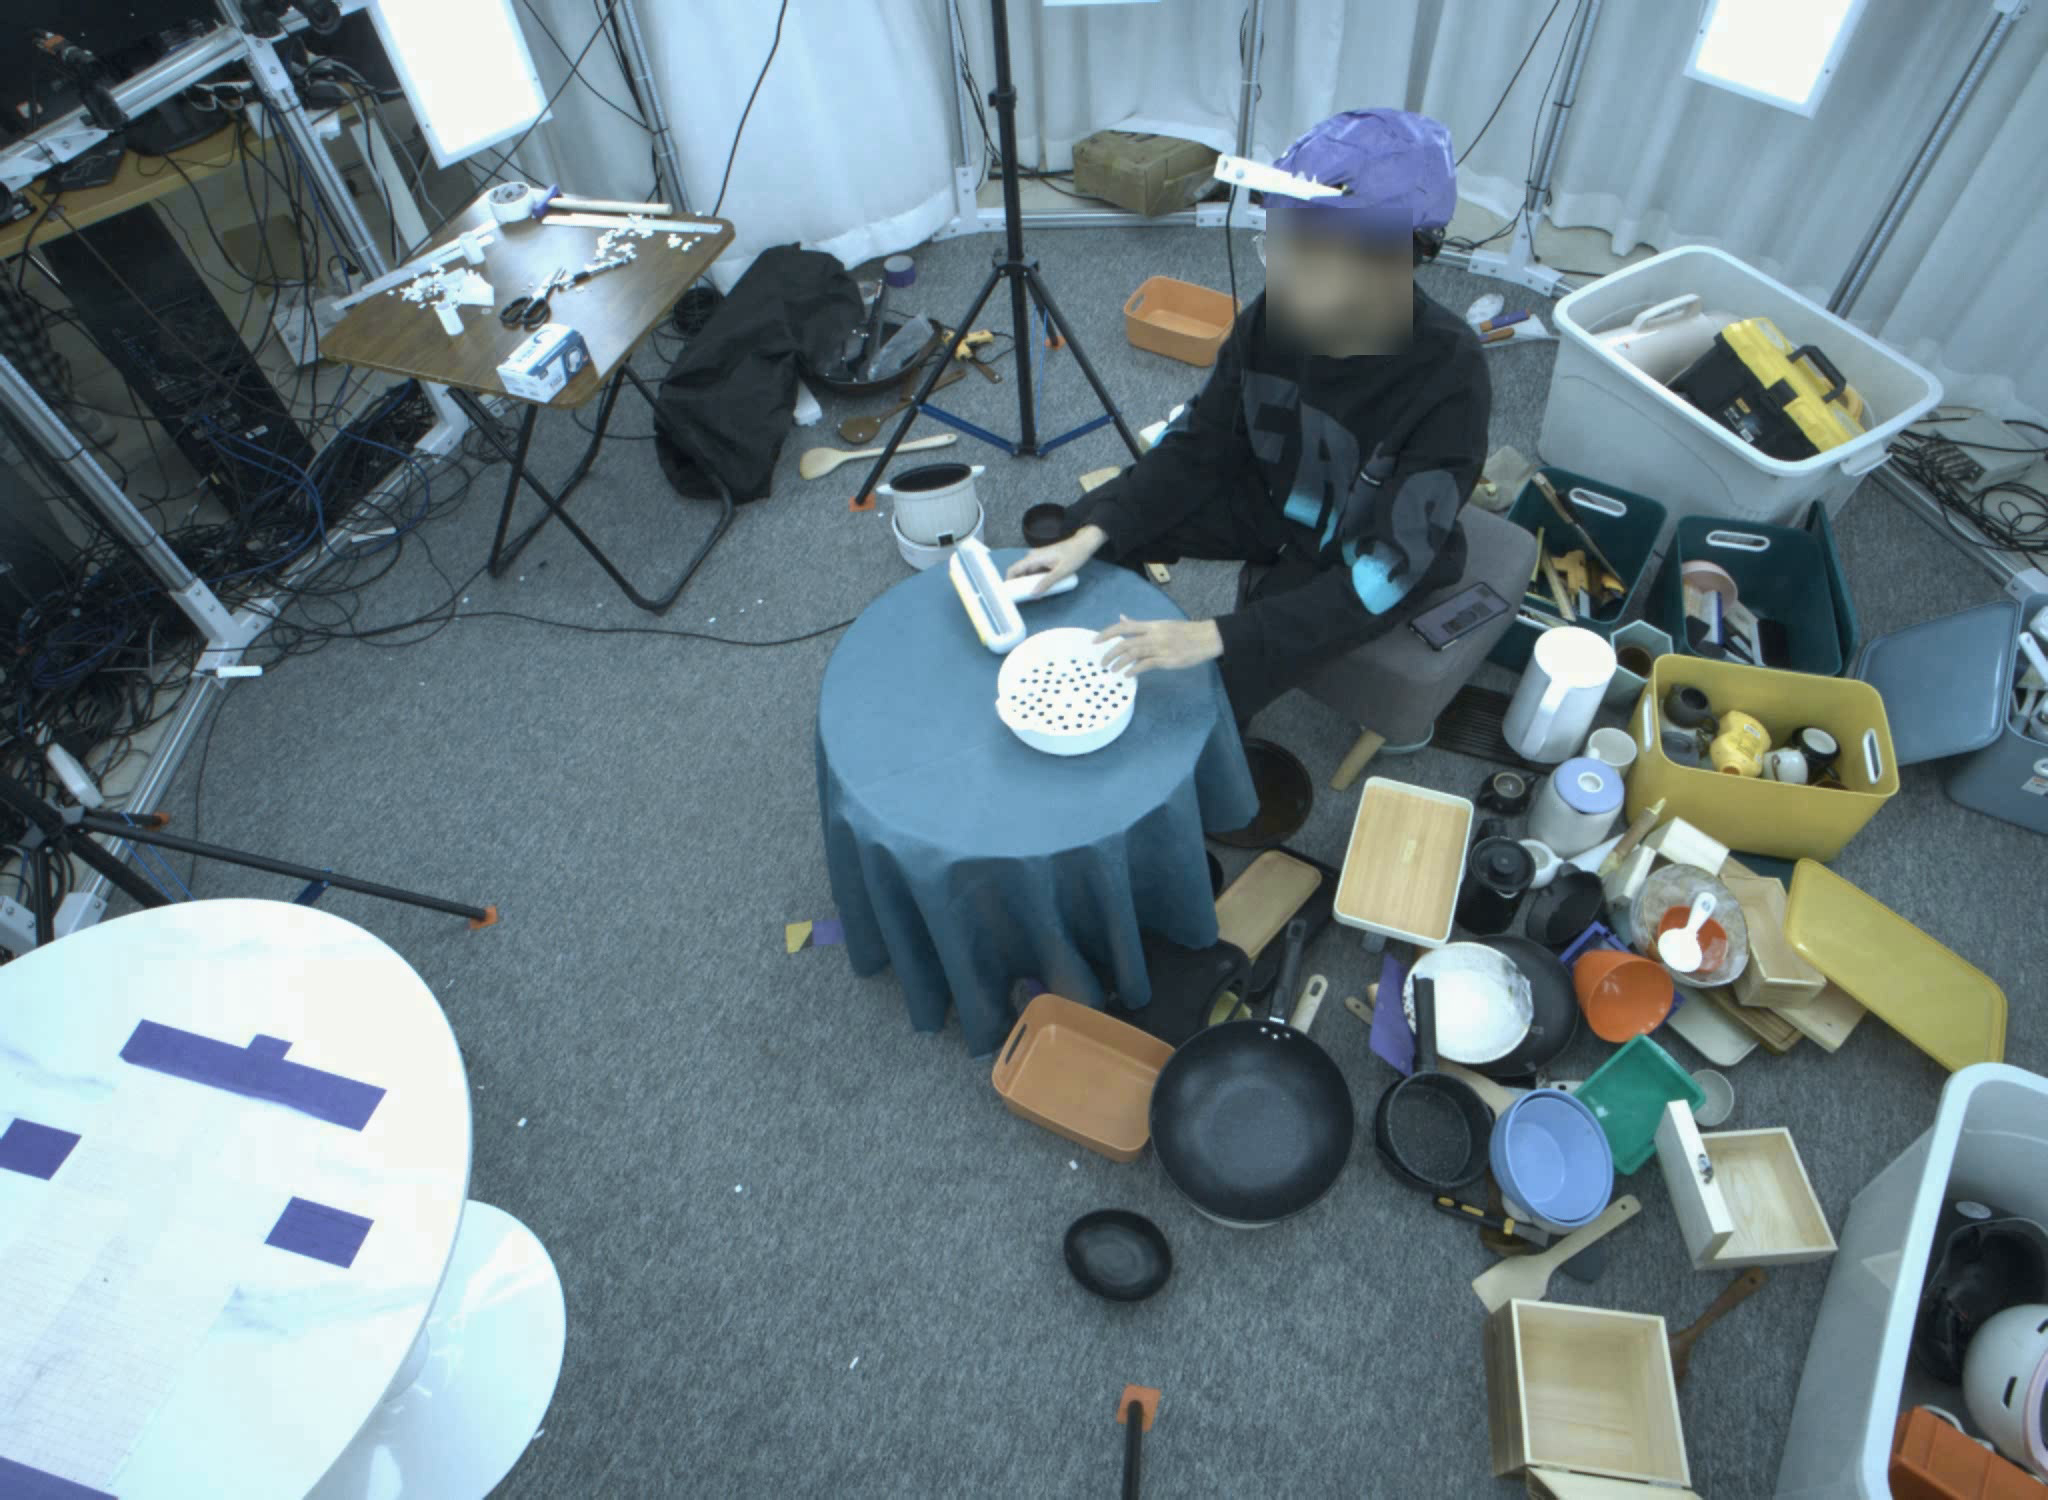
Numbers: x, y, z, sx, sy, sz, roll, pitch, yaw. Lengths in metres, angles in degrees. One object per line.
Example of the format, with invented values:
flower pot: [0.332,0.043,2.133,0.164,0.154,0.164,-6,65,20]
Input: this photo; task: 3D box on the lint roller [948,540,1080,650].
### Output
lint roller: [-0.005,-0.256,1.919,0.193,0.075,0.190,-19,62,-8]

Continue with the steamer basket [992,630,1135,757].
steamer basket: [0.059,-0.080,1.800,0.232,0.070,0.198,-30,60,-21]
